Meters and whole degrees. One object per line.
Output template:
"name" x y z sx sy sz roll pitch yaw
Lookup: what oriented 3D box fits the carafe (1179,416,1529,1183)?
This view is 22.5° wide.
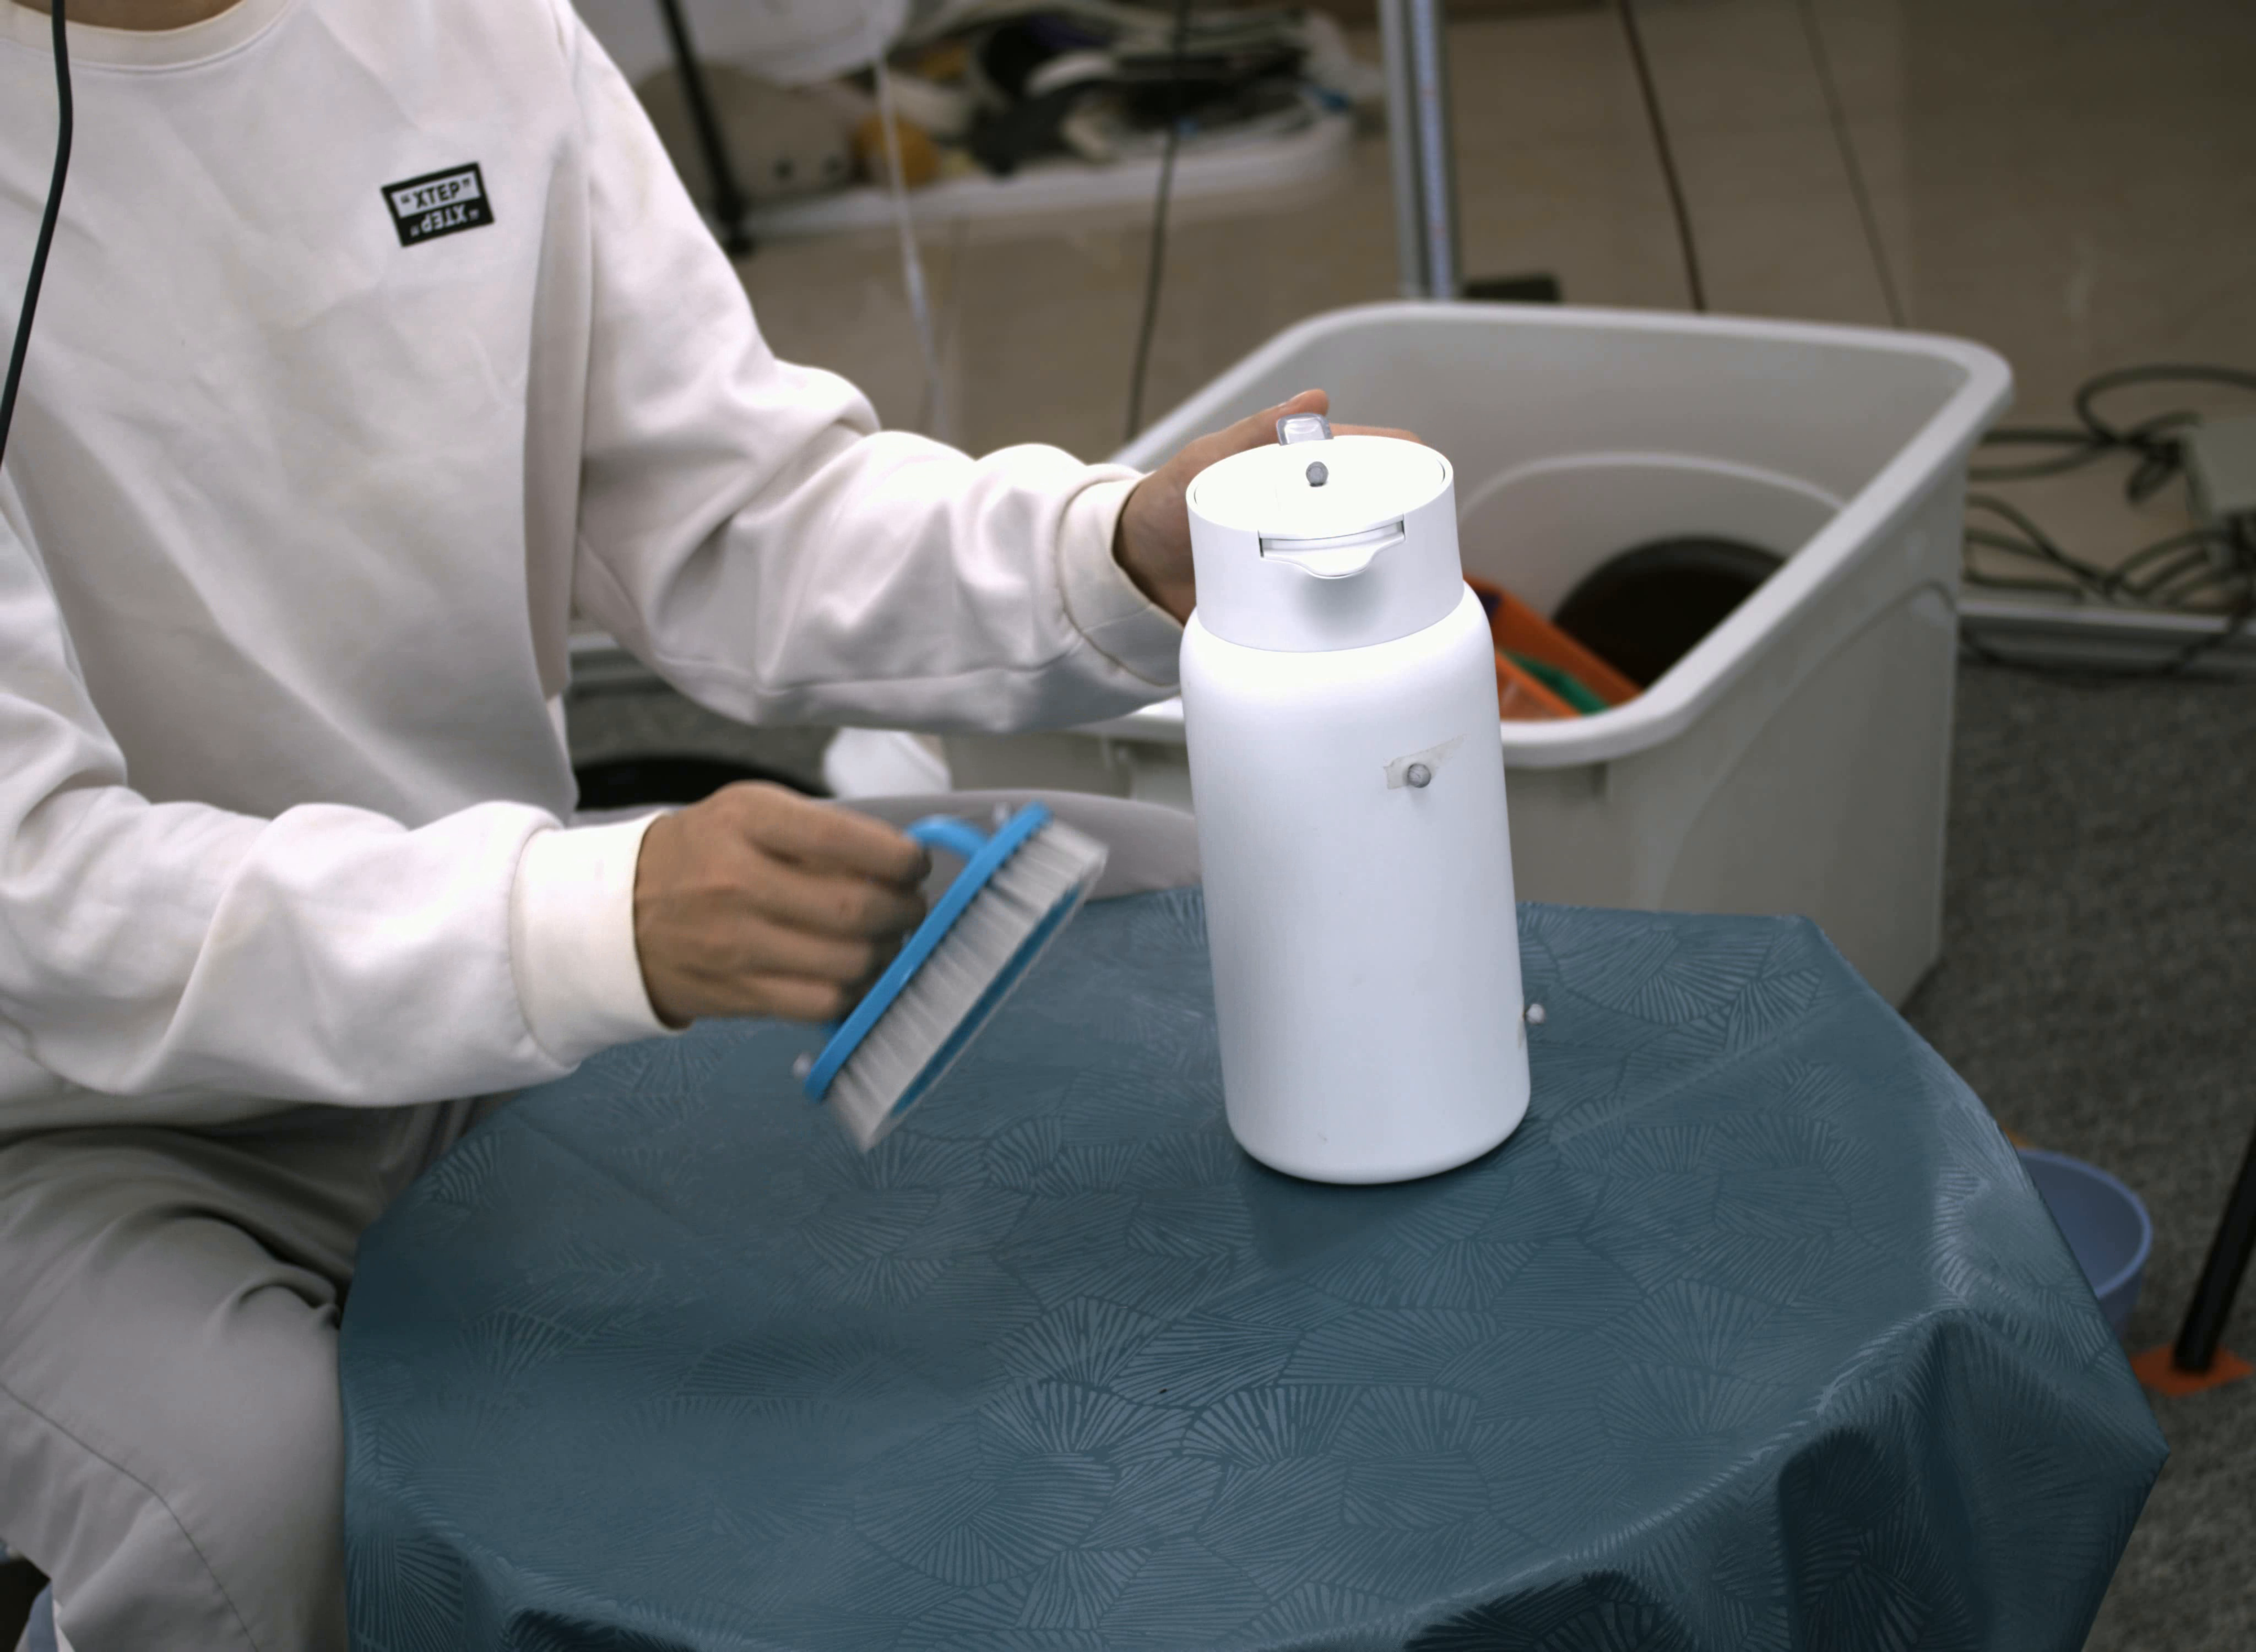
"carafe" 0.080 -0.014 2.134 0.123 0.273 0.170 -9 25 -1

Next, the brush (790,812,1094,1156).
"brush" -0.078 0.048 2.031 0.064 0.143 0.083 40 18 1
